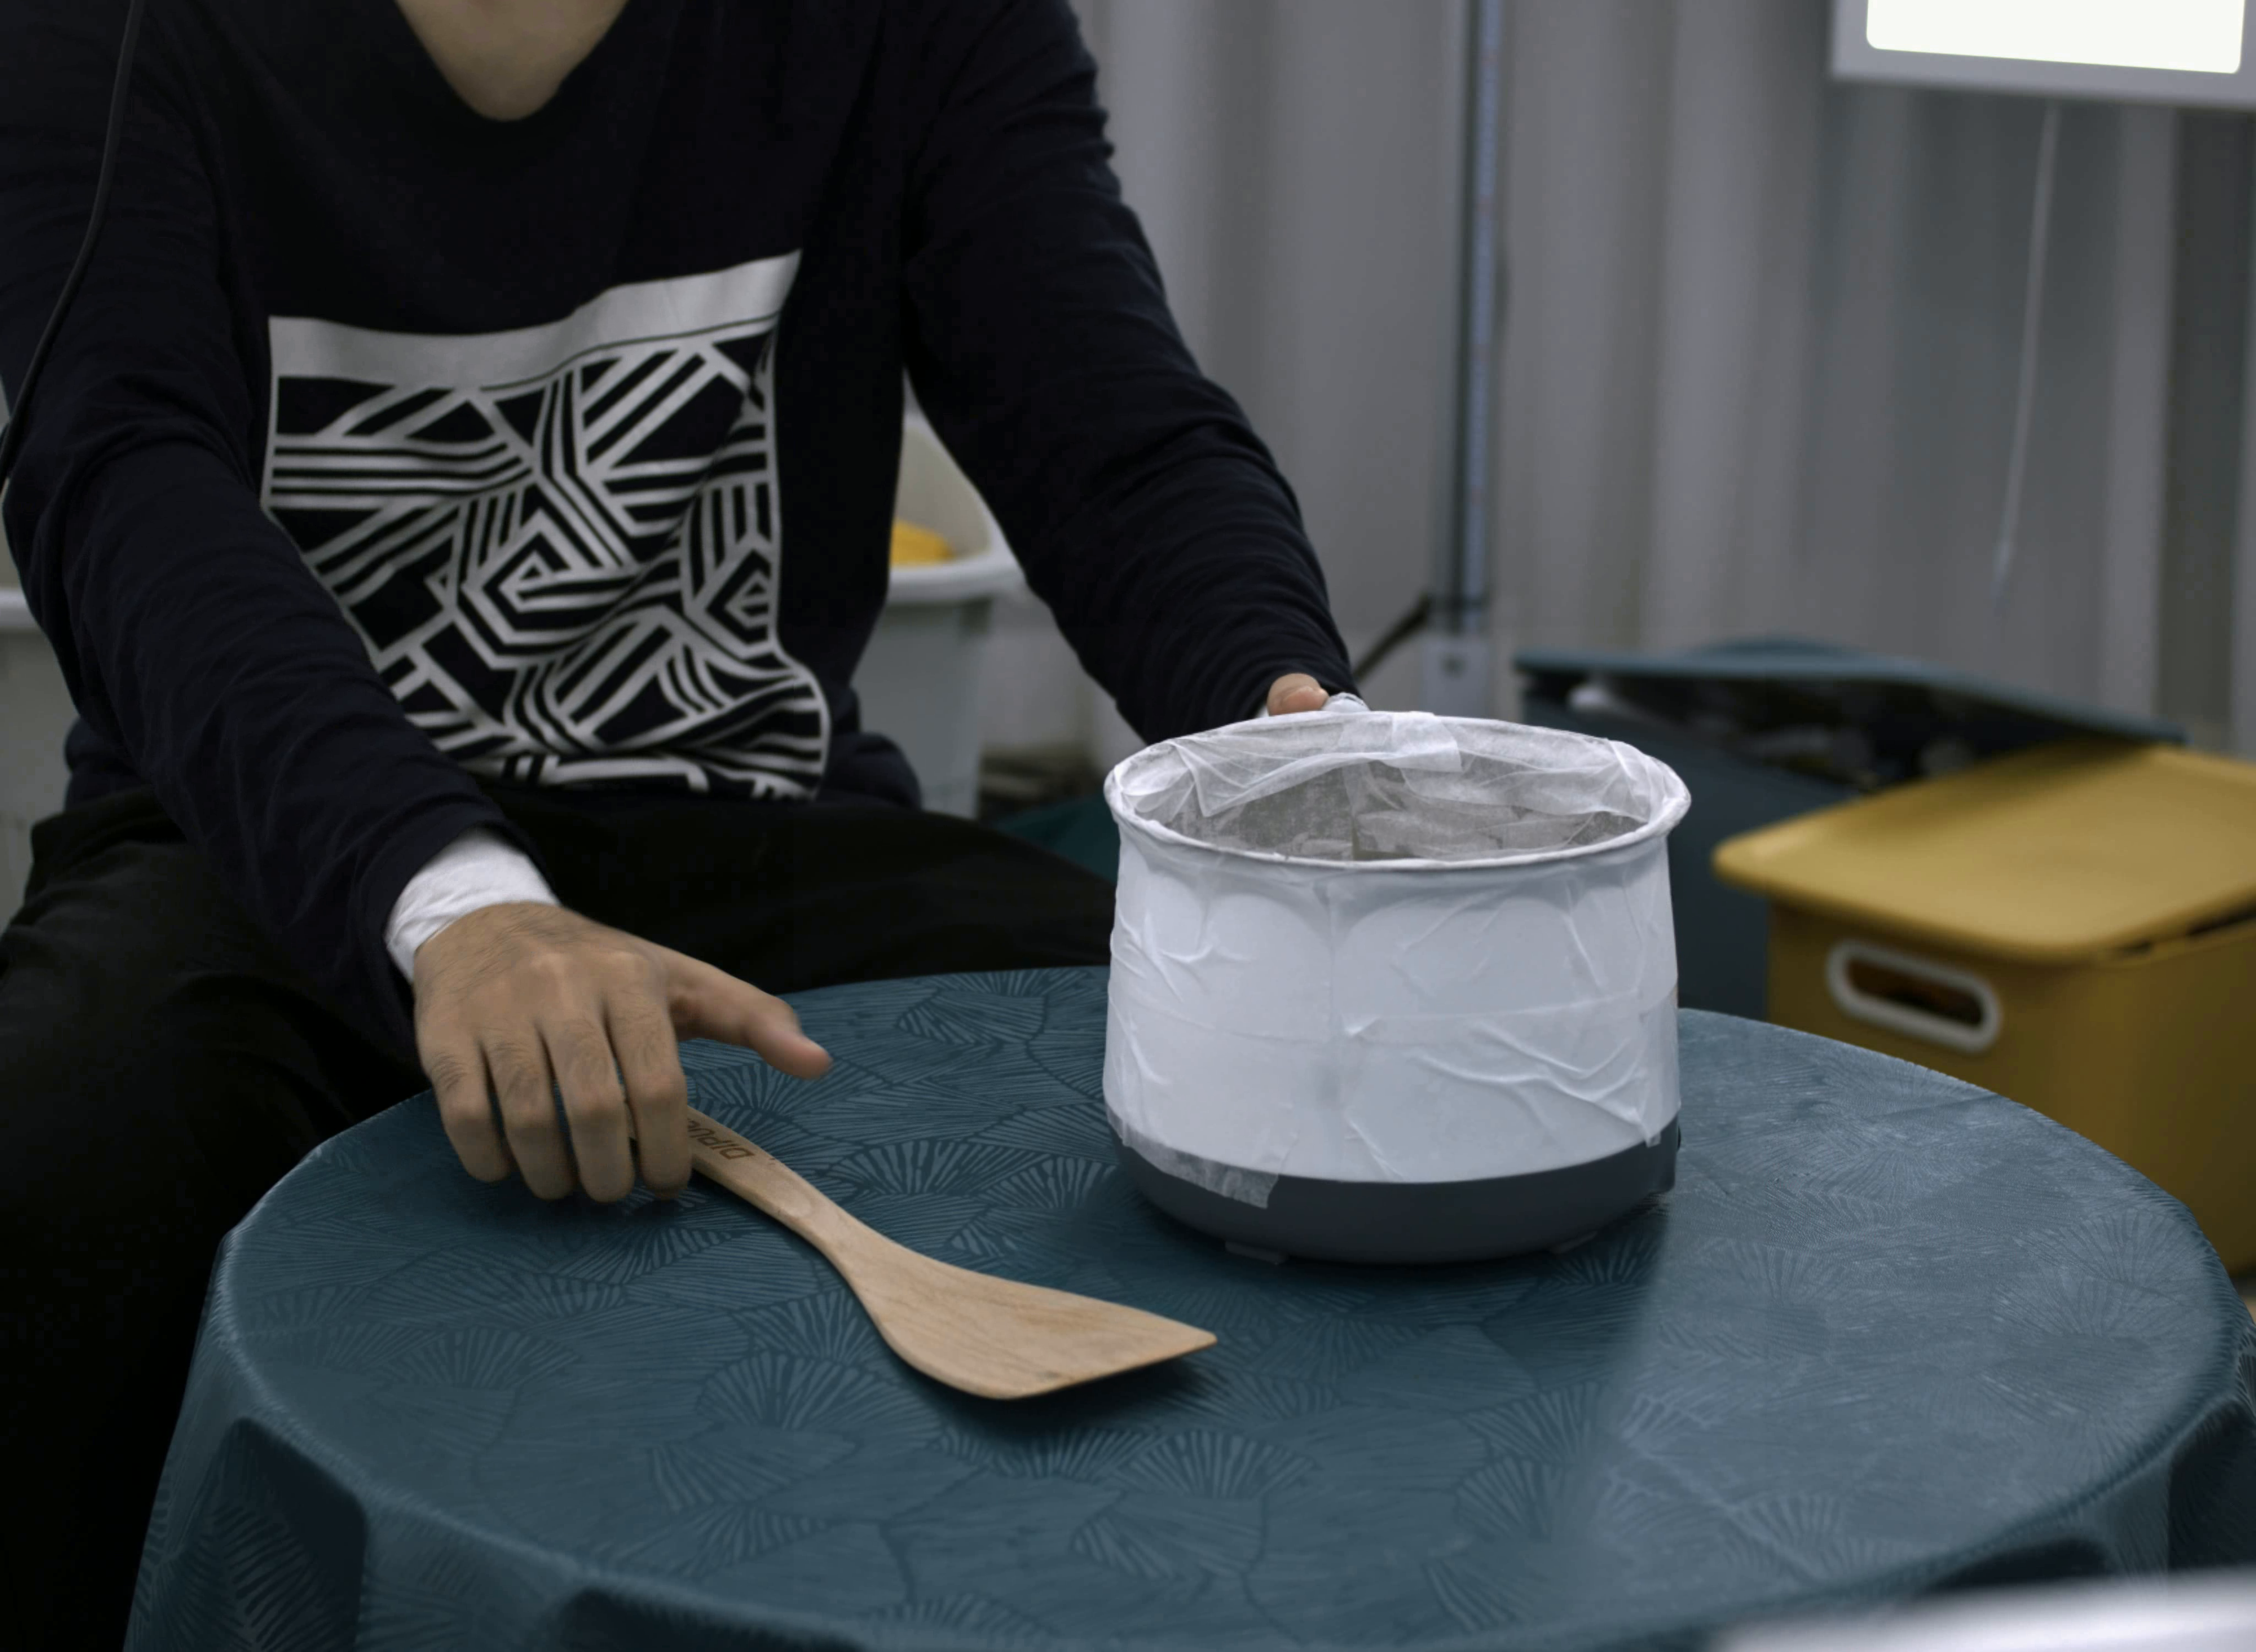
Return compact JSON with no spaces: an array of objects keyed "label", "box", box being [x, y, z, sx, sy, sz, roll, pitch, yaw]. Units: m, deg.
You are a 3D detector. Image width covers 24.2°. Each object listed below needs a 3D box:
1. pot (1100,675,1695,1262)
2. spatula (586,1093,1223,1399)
[{"label":"pot","box":[0.076,0.038,1.625,0.179,0.138,0.232,-1,17,-9]},{"label":"spatula","box":[-0.082,0.120,1.565,0.080,0.016,0.323,-8,17,-31]}]
